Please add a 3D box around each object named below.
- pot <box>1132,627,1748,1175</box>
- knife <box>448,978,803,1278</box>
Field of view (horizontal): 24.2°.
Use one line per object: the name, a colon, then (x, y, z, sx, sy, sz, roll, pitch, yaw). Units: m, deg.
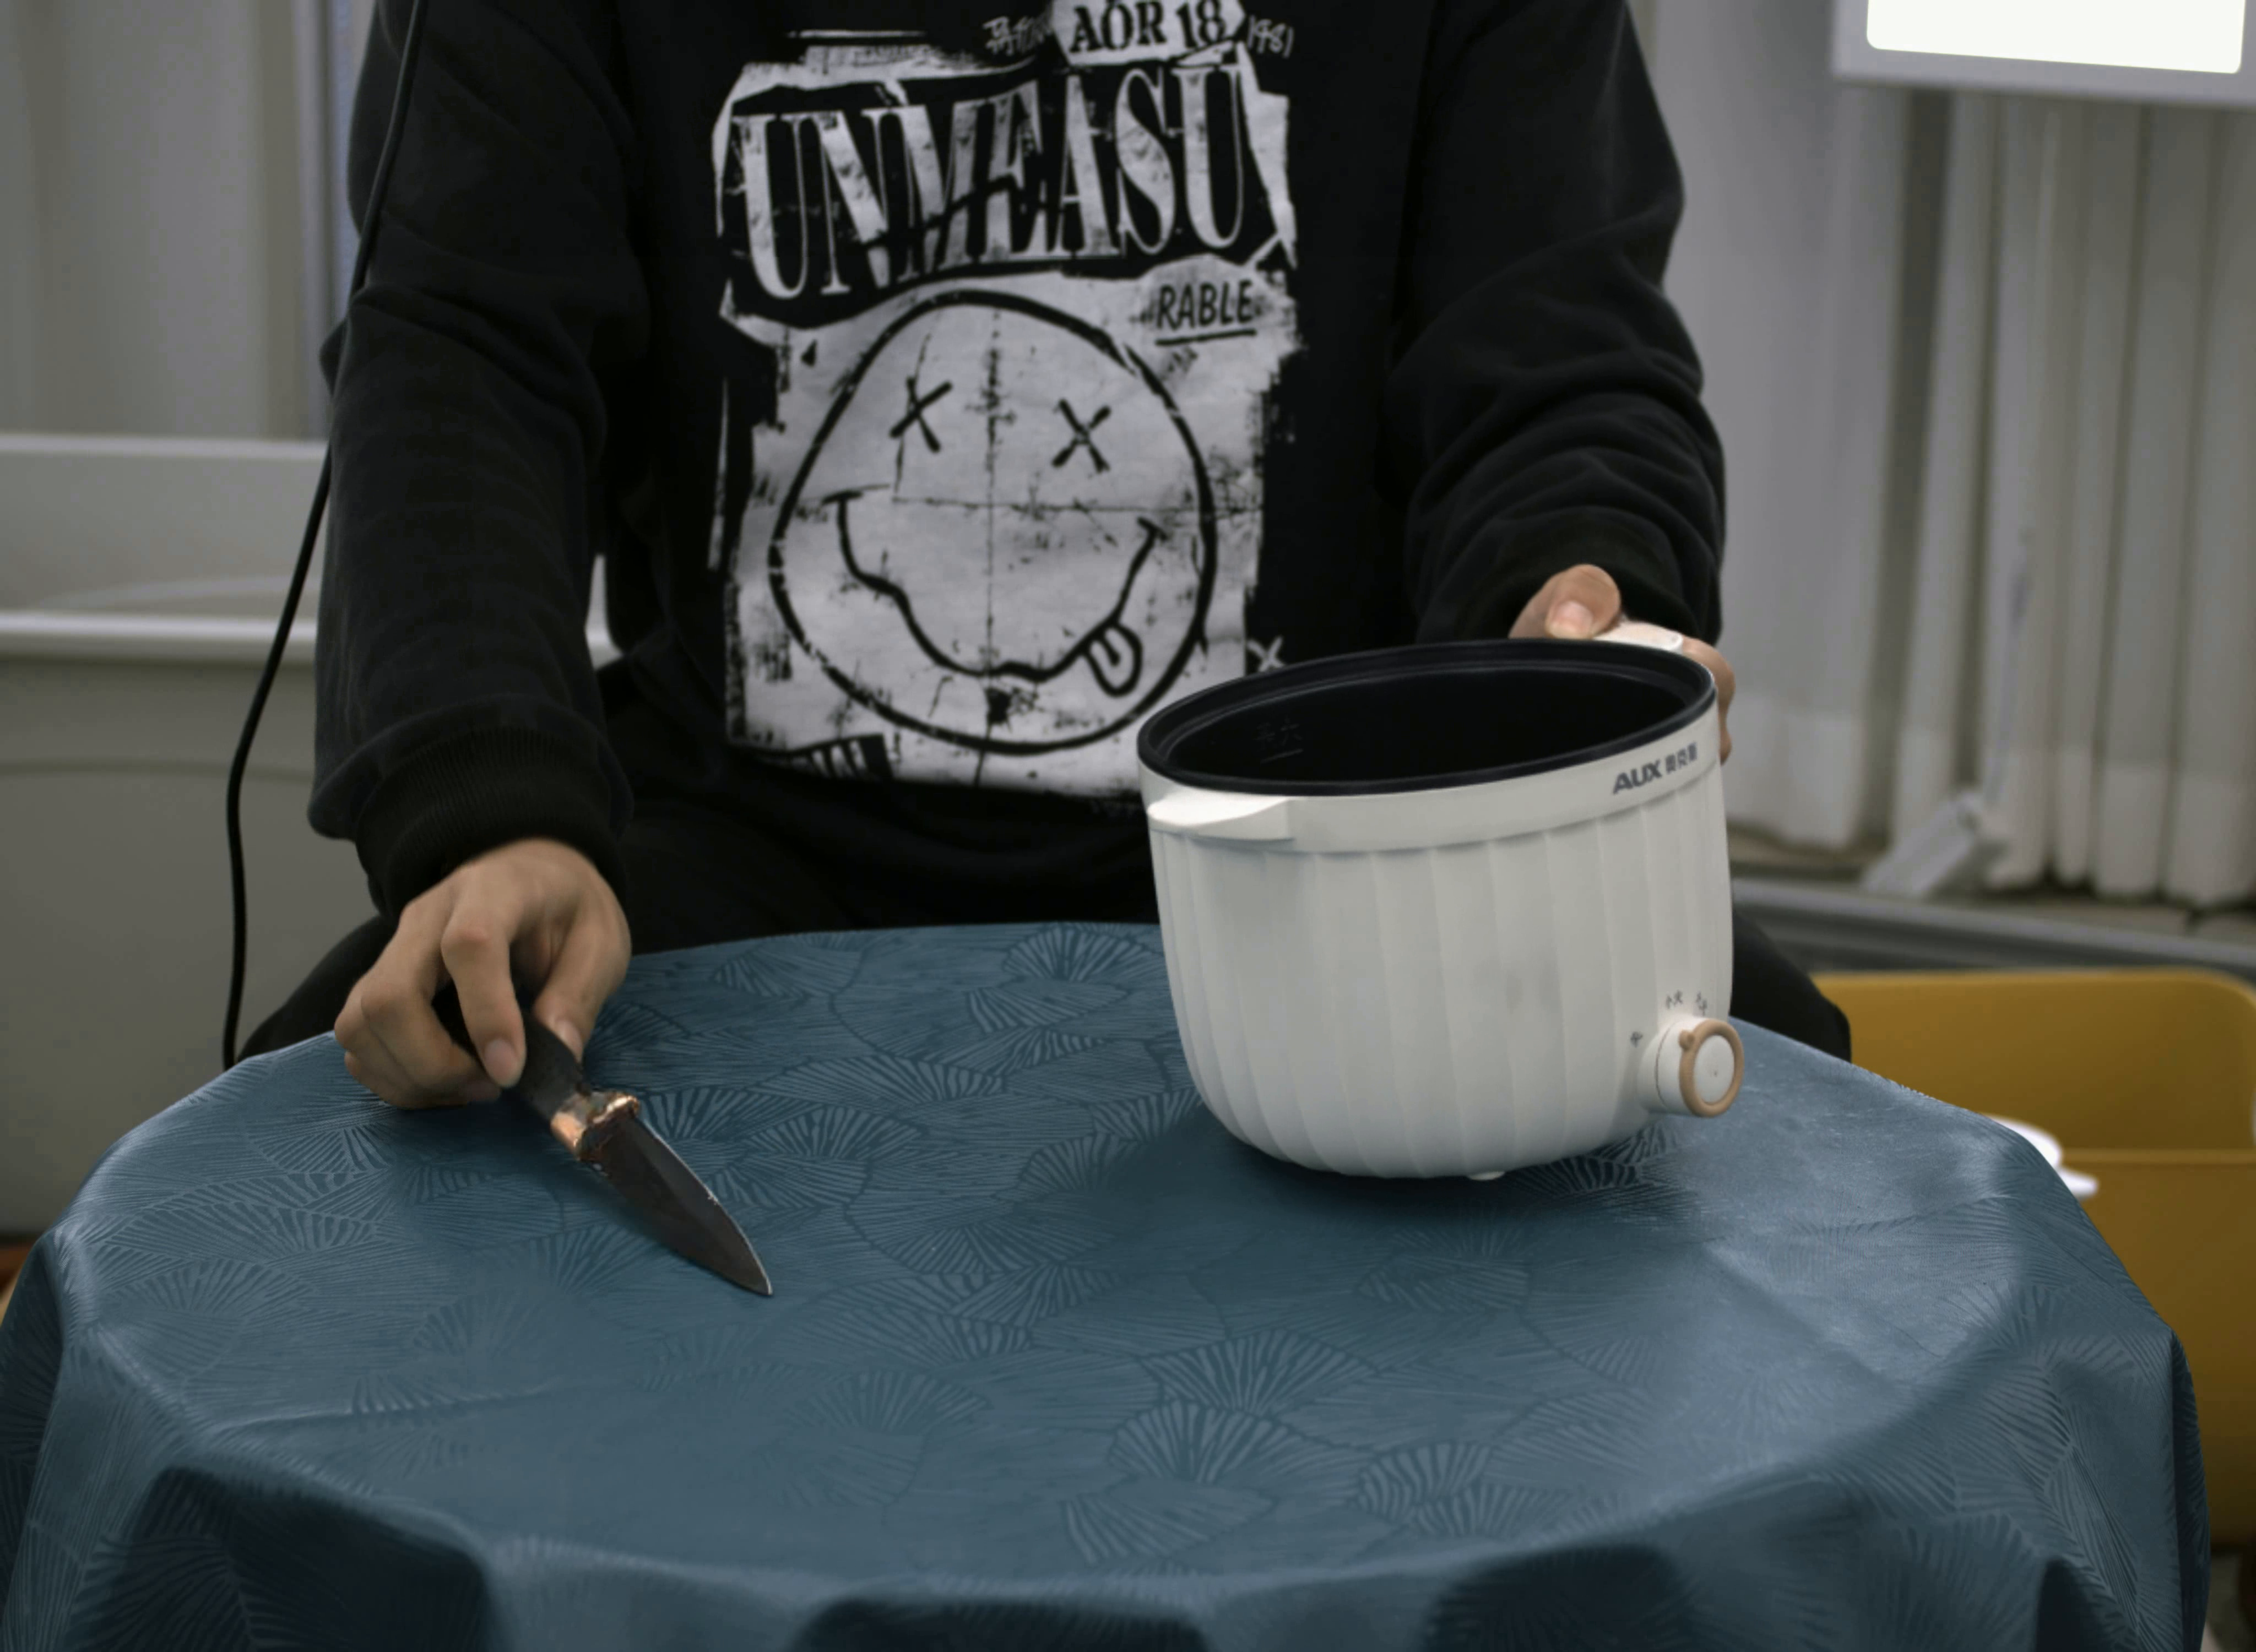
pot: (0.104, 0.026, 1.648, 0.188, 0.144, 0.241, 2, 18, 42)
knife: (-0.157, 0.094, 1.613, 0.026, 0.017, 0.222, -35, 36, -15)
